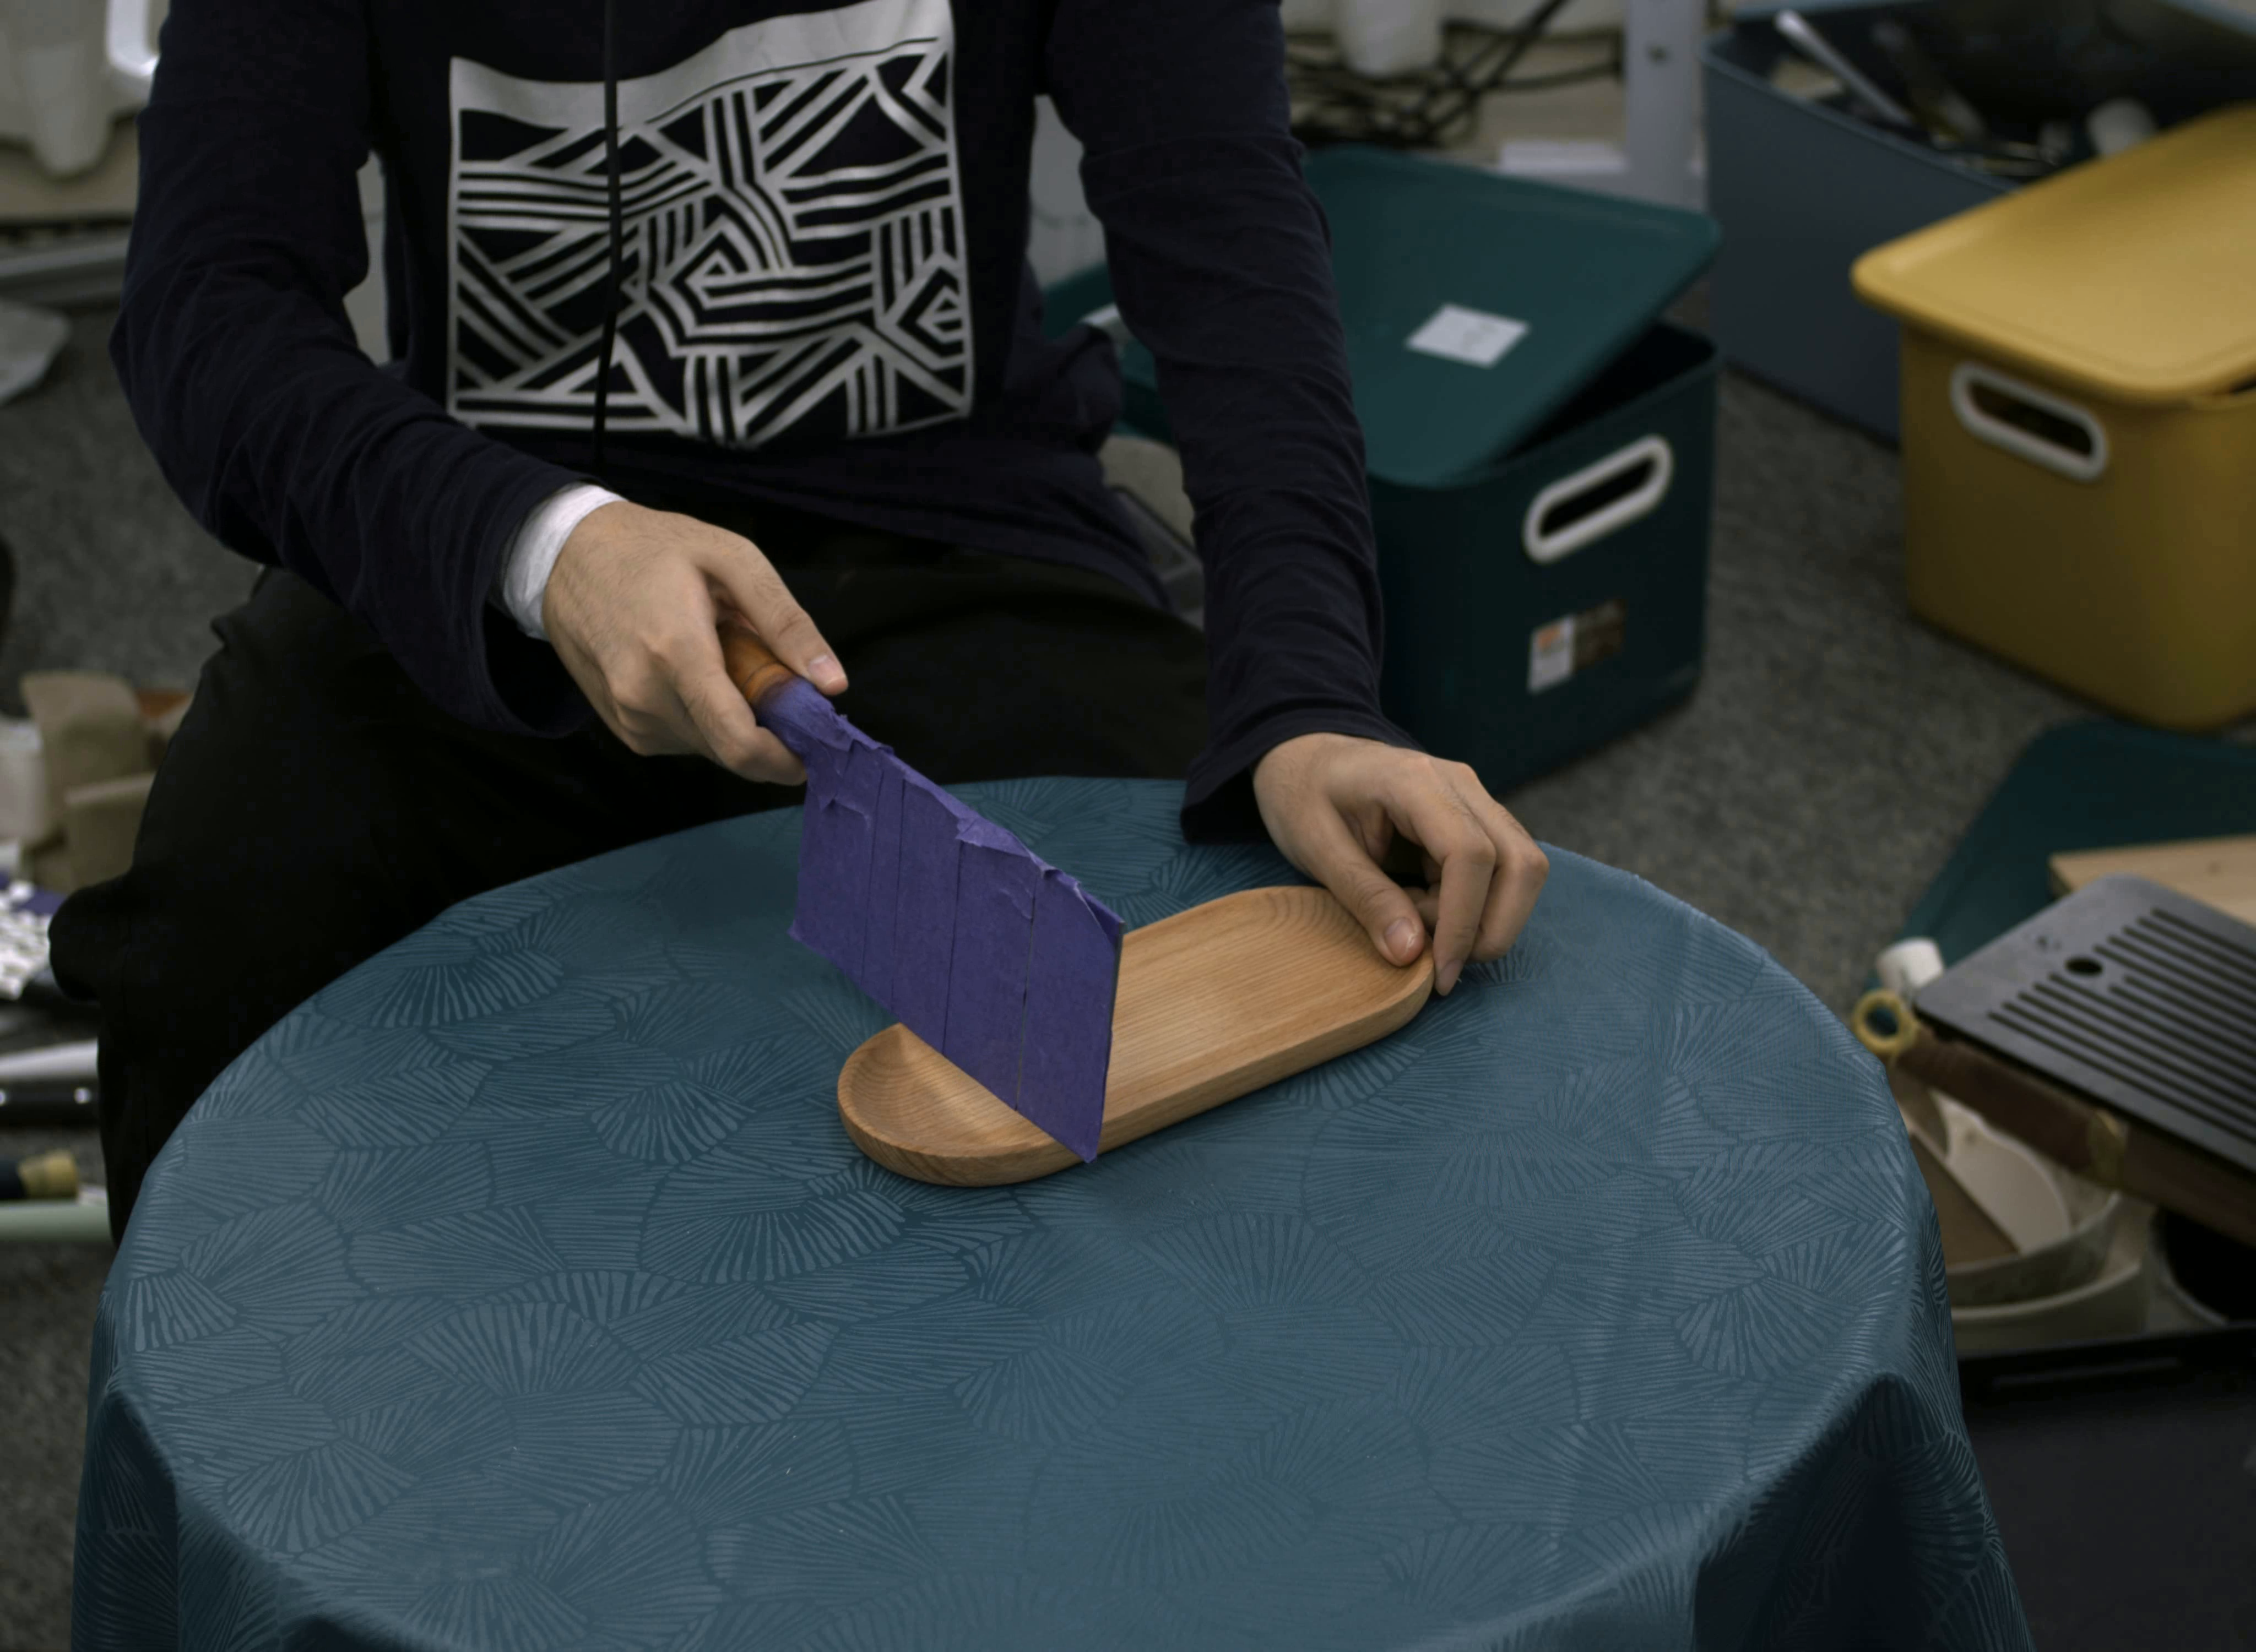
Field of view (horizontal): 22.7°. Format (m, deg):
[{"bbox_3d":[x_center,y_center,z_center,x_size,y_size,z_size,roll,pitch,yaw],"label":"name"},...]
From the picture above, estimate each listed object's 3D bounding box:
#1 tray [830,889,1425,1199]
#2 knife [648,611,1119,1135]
[{"bbox_3d":[0.002,0.074,1.937,0.233,0.020,0.102,-23,33,-31],"label":"tray"},{"bbox_3d":[-0.089,0.015,1.935,0.032,0.103,0.316,-3,21,-30],"label":"knife"}]
